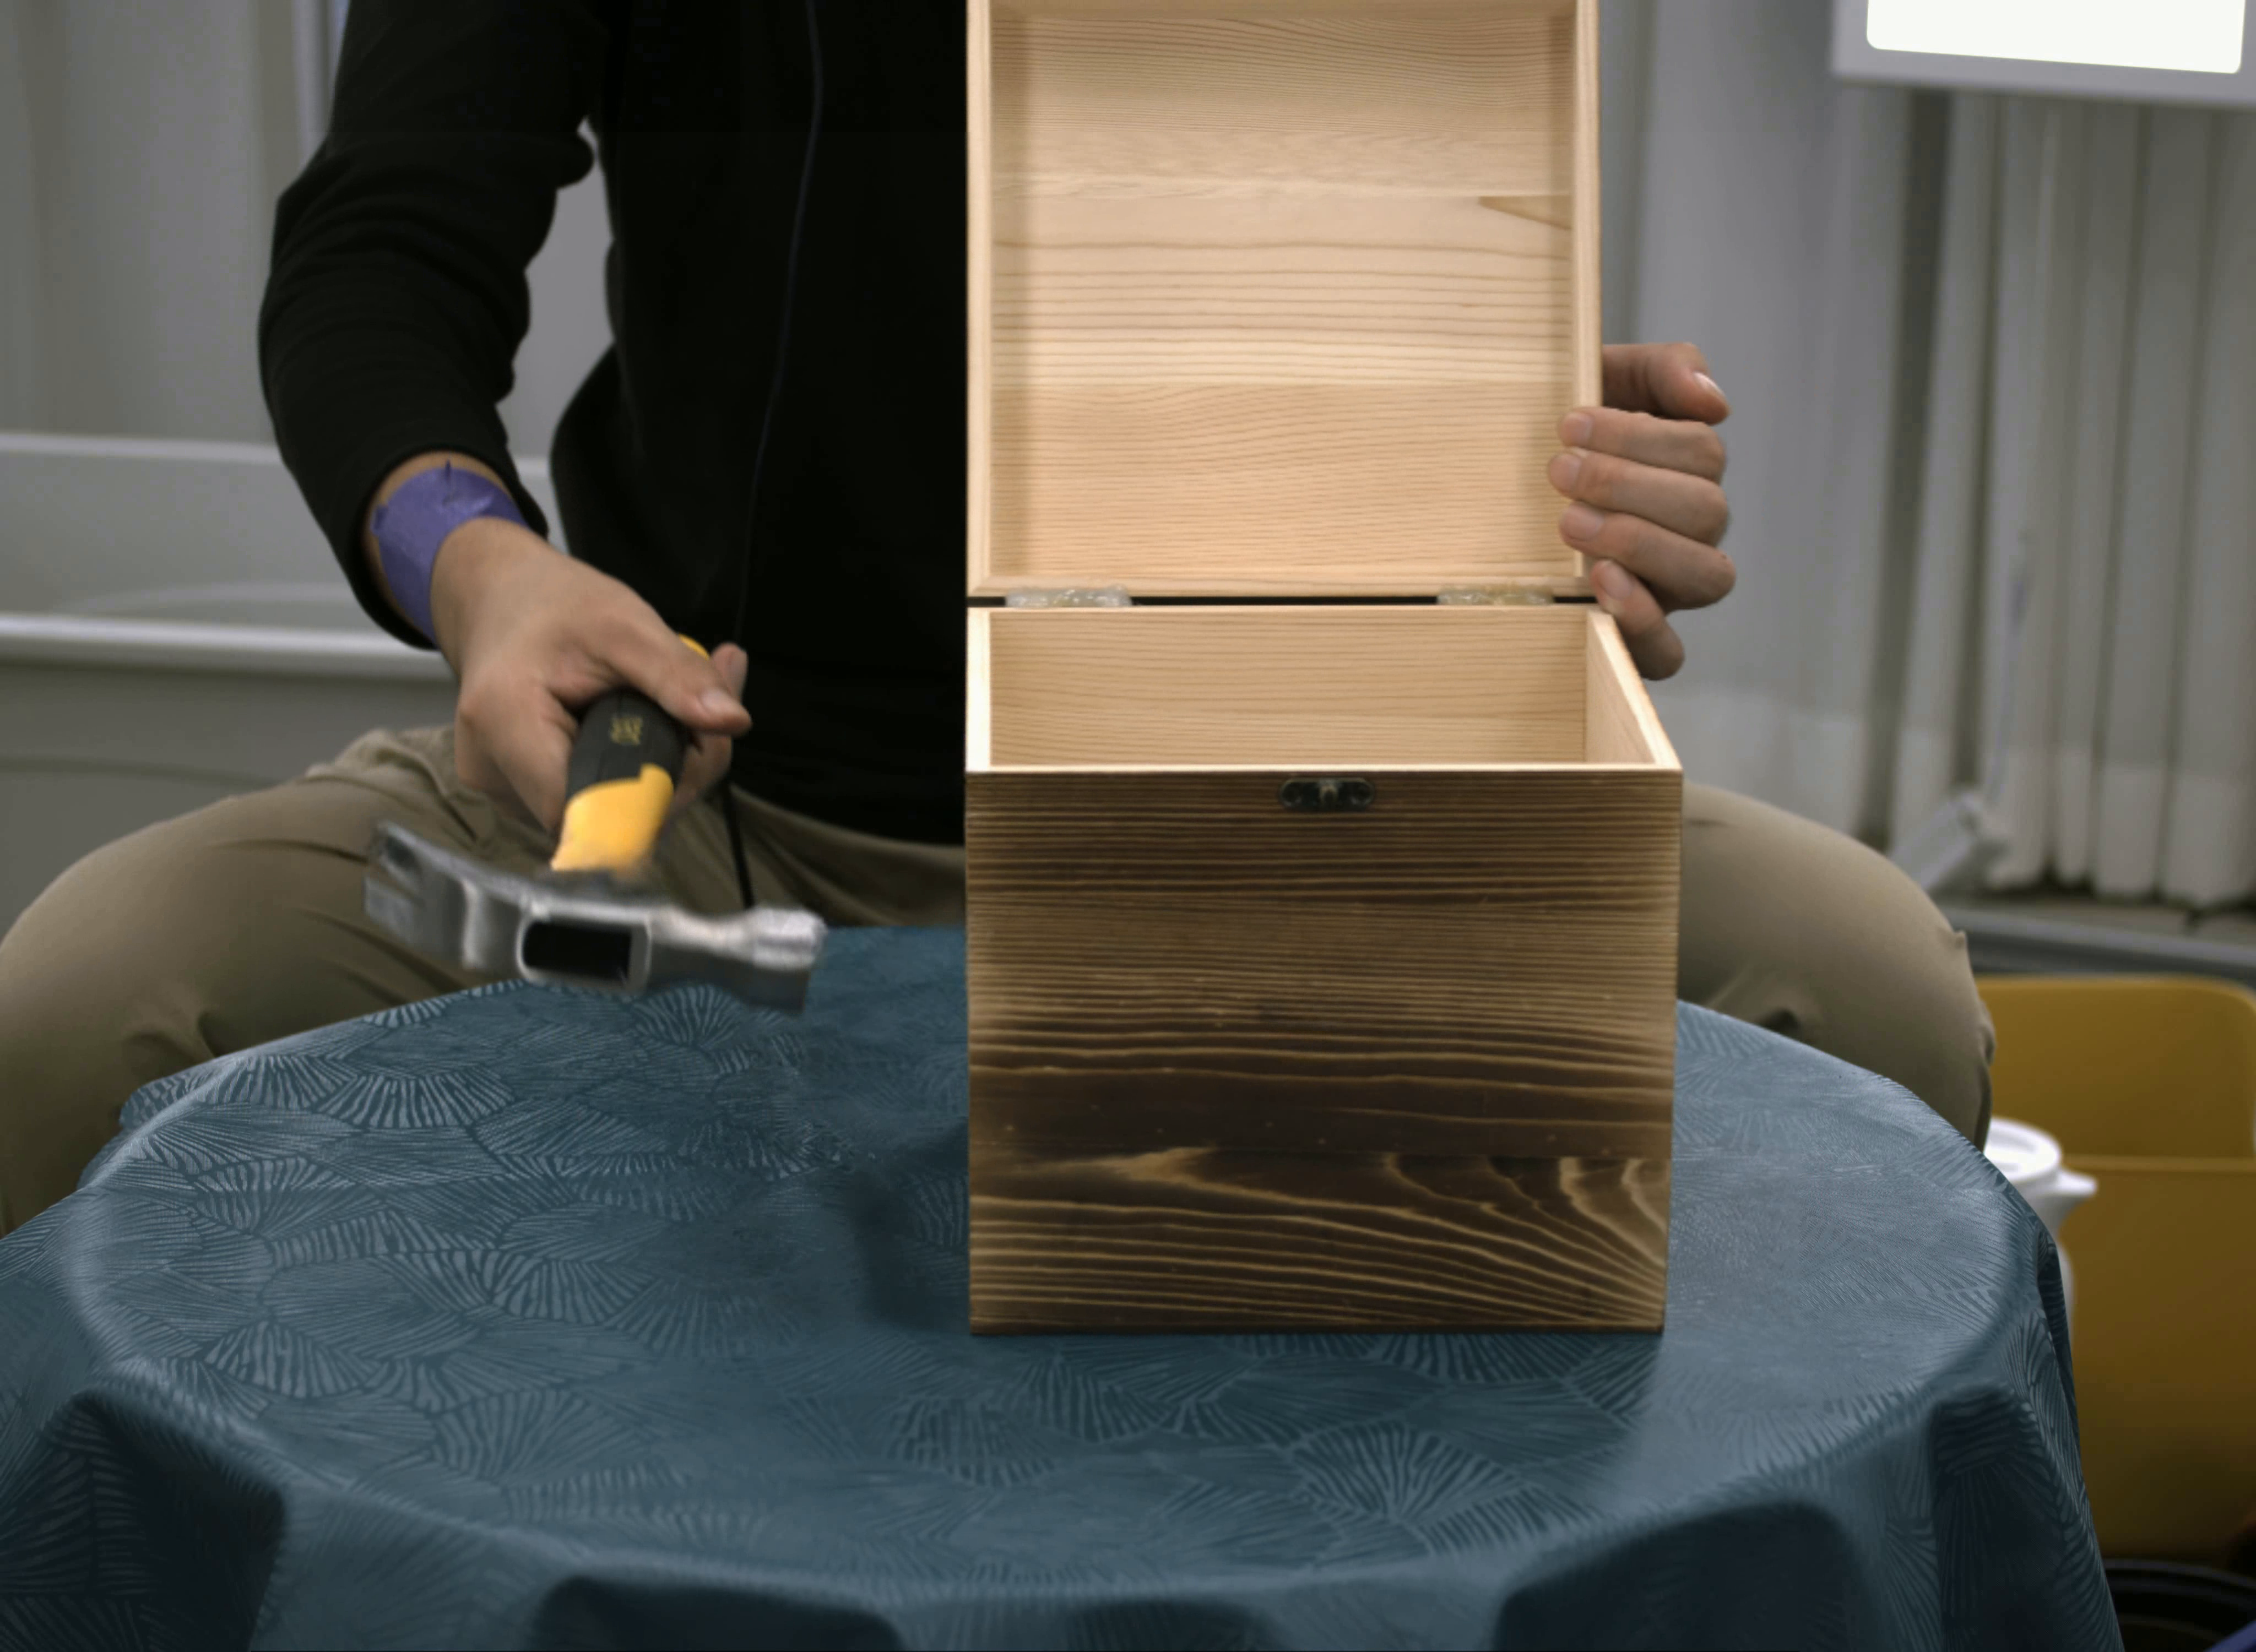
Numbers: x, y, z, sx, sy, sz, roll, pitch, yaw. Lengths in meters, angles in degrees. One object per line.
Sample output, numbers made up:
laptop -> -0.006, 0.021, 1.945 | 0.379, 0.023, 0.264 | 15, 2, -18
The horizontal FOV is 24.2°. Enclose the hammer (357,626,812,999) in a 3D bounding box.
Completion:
hammer -> -0.156, -0.014, 1.611 | 0.131, 0.032, 0.336 | 8, 14, -3

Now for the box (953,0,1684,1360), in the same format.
box -> 0.051, -0.066, 1.599 | 0.208, 0.378, 0.320 | -1, 15, -1
